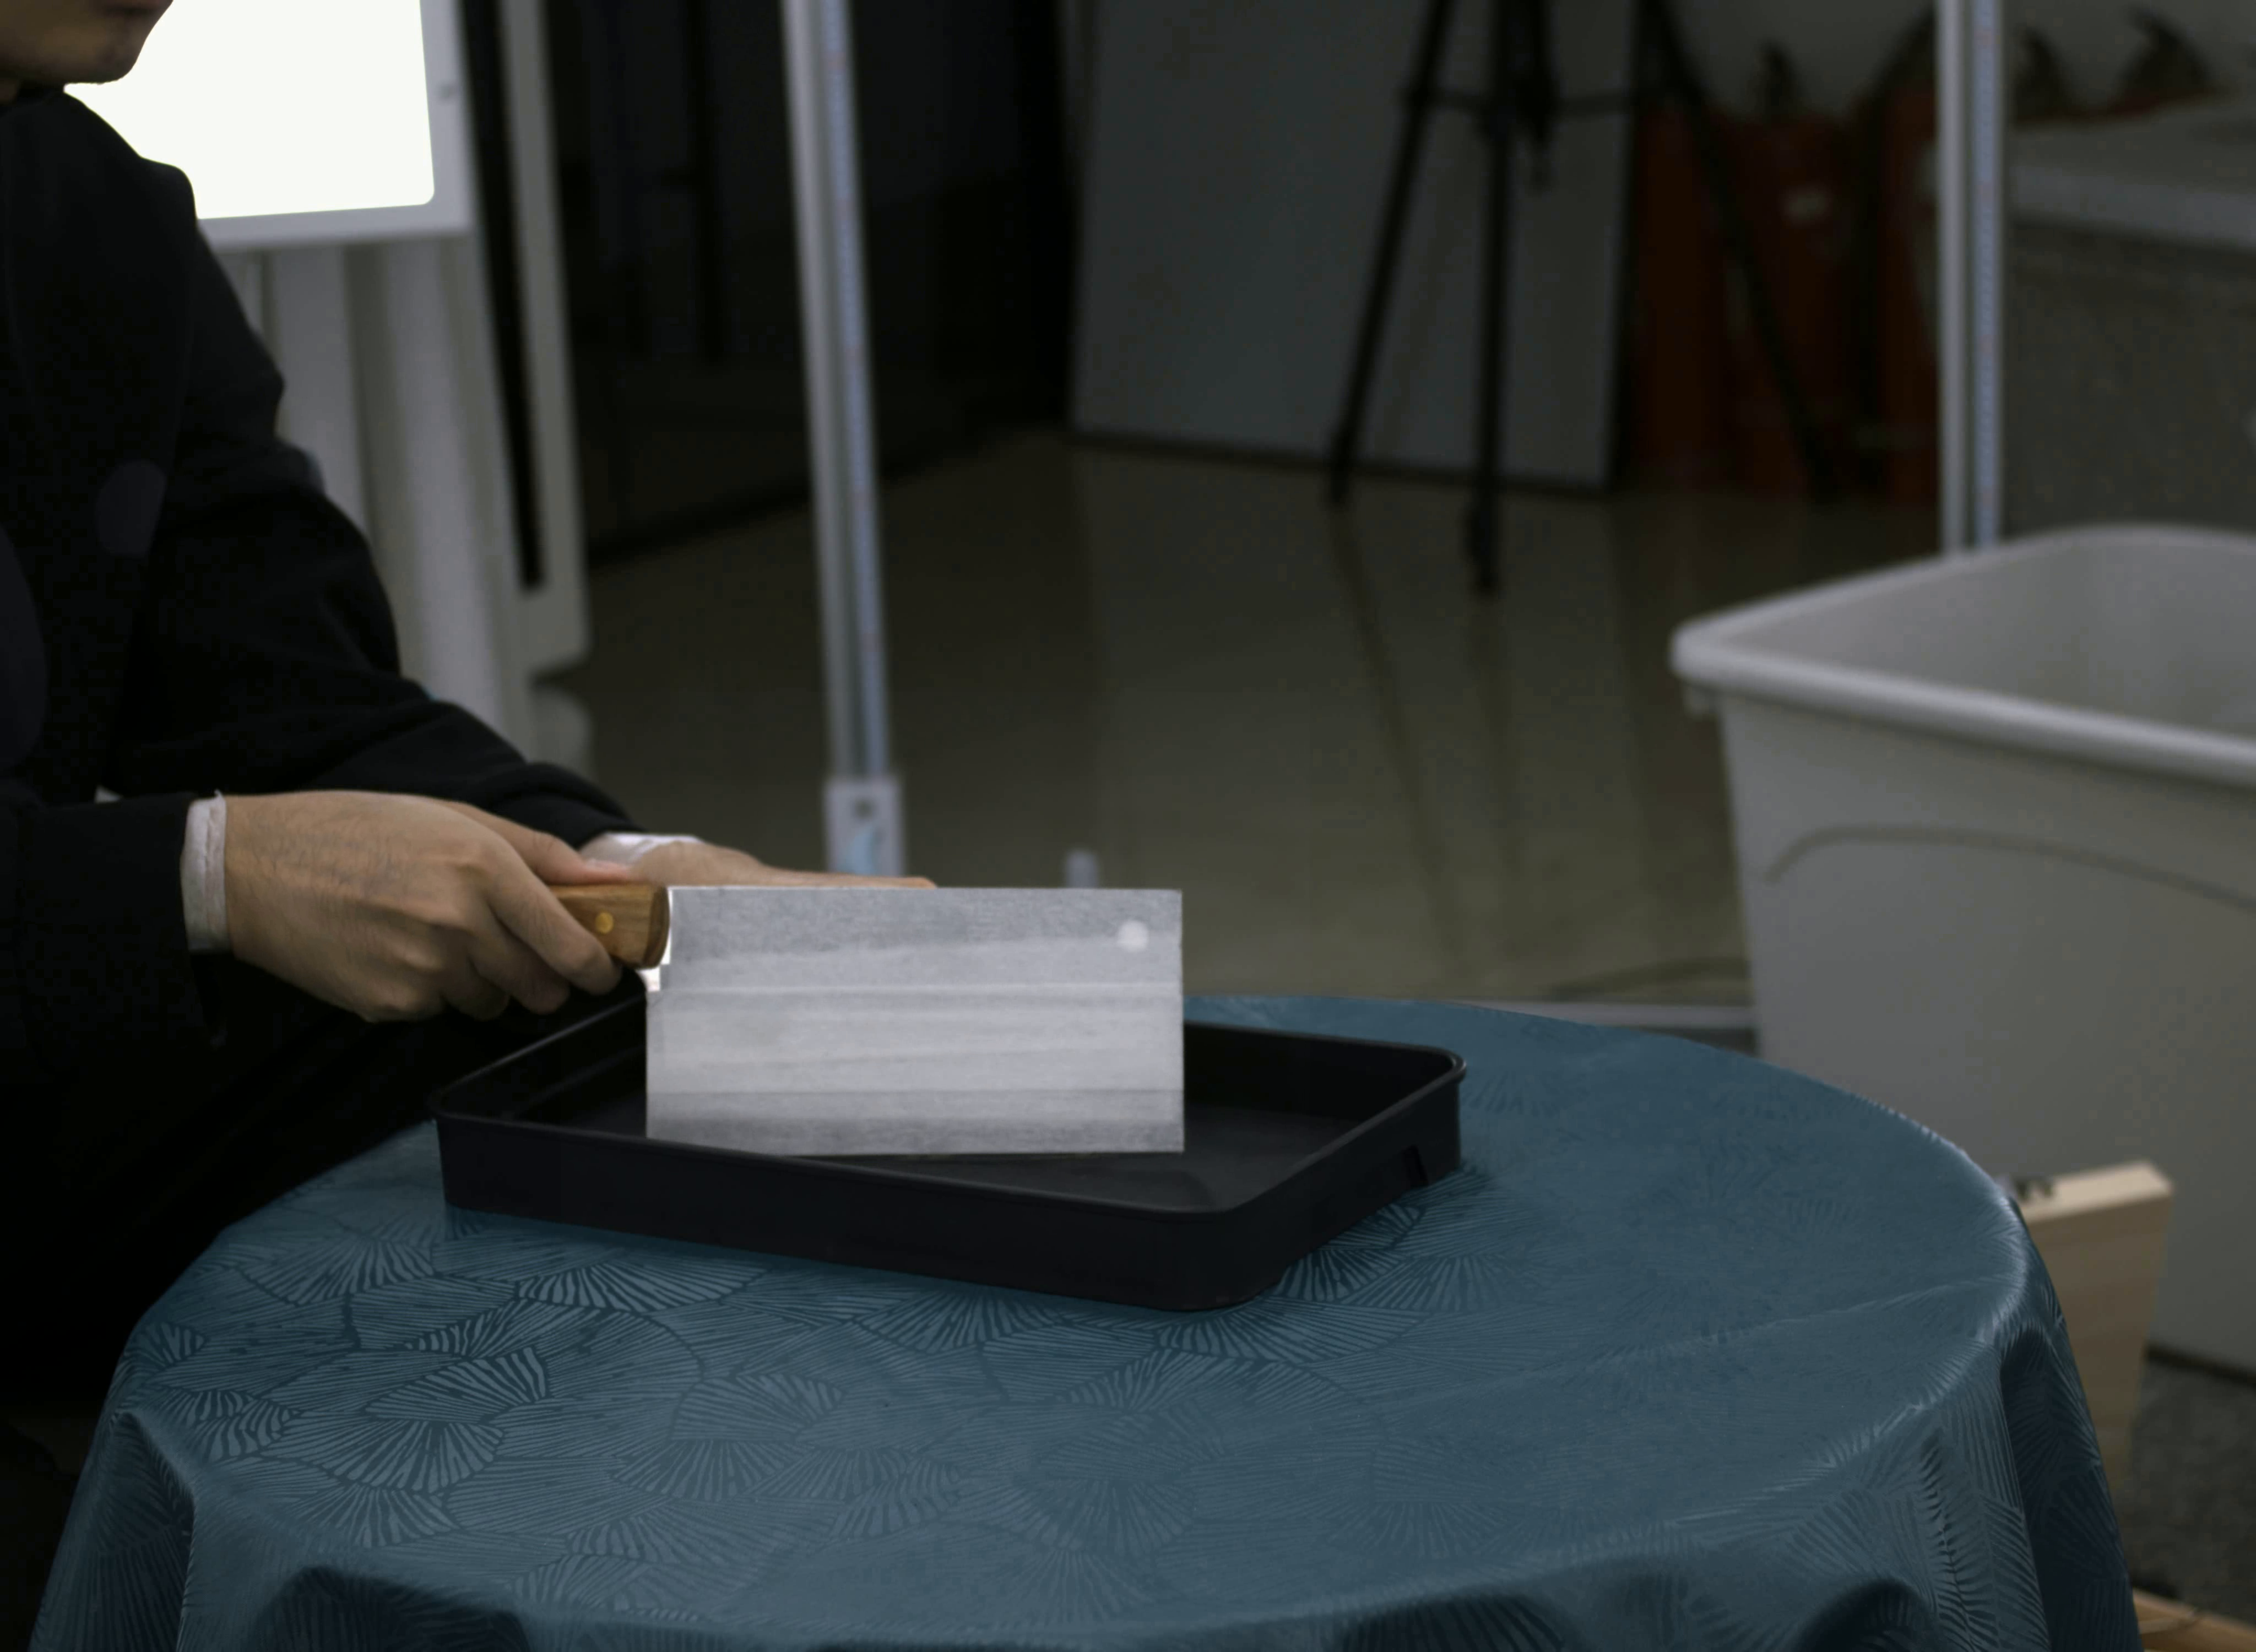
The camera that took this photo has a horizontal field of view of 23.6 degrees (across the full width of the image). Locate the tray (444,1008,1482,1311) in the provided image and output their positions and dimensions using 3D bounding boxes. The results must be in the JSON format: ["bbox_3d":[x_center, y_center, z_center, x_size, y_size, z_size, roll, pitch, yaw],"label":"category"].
[{"bbox_3d":[-0.054,0.102,1.789,0.319,0.037,0.181,4,16,30],"label":"tray"}]

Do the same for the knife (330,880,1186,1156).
[{"bbox_3d":[-0.127,0.065,1.817,0.304,0.094,0.021,-1,2,17],"label":"knife"}]
